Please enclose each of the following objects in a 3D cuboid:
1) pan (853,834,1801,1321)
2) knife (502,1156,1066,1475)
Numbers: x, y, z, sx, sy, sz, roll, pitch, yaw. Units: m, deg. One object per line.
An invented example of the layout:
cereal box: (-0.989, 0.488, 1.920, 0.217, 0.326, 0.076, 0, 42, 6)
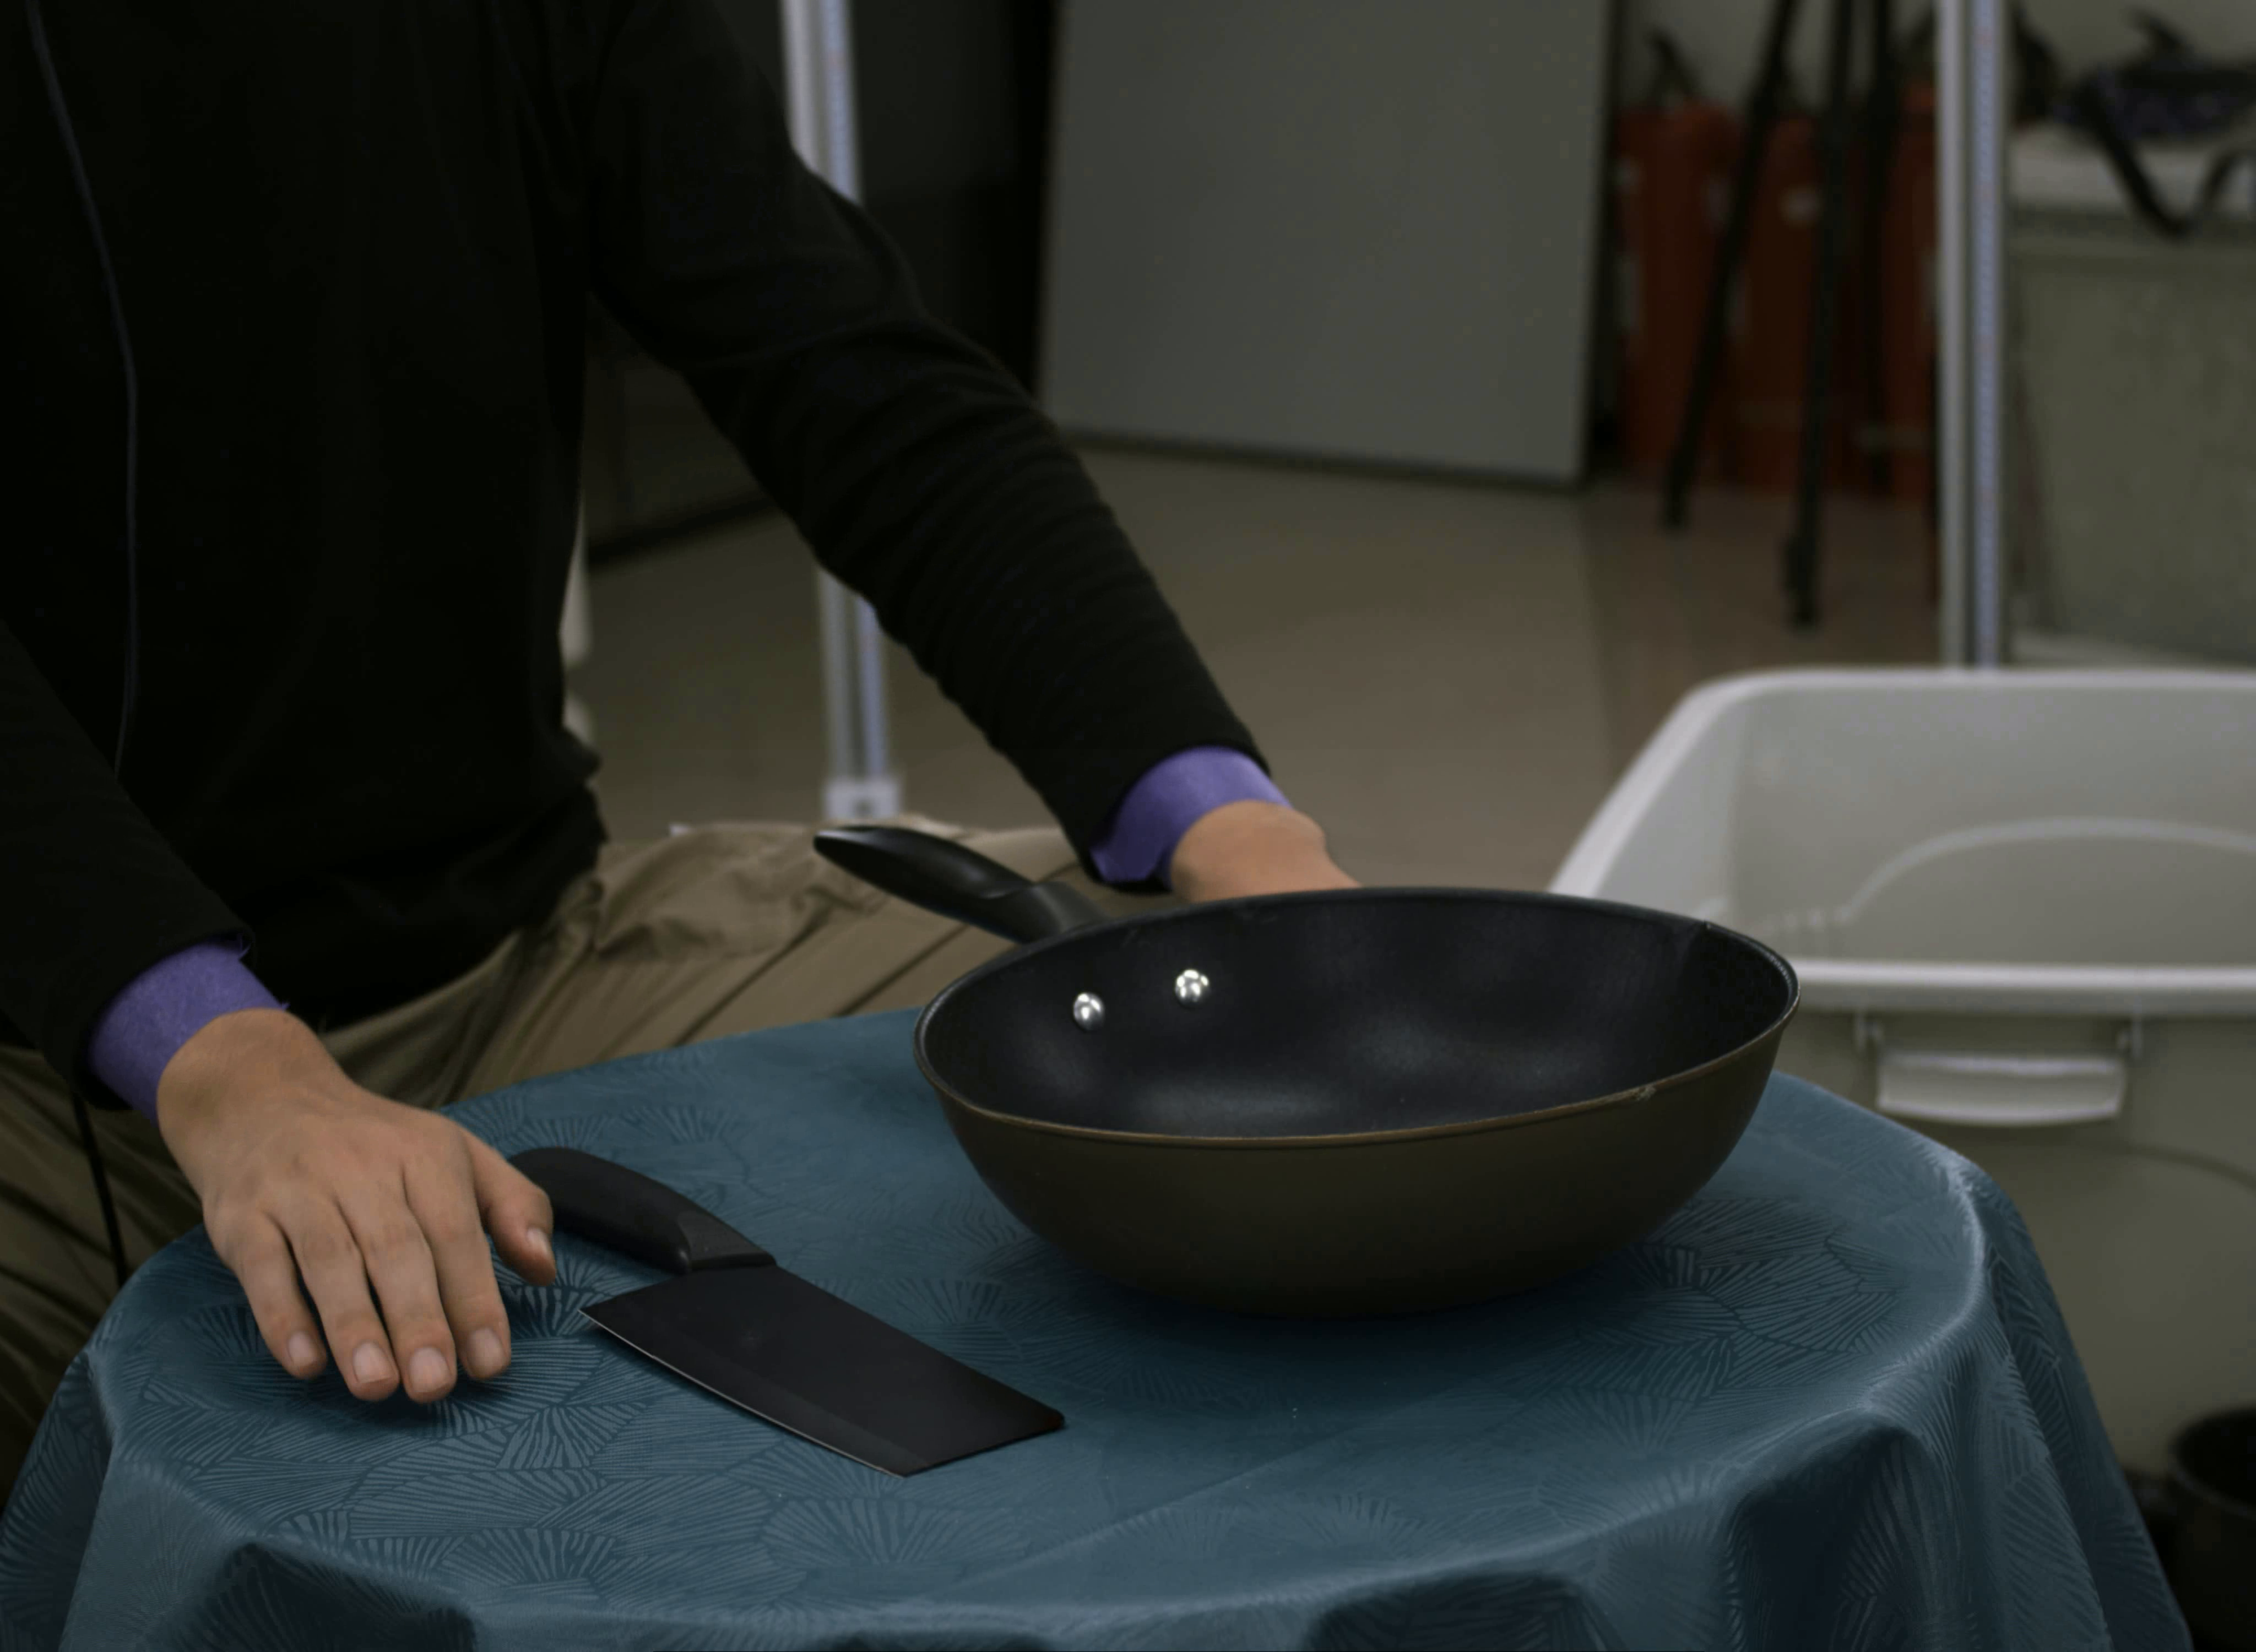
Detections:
pan: (0.025, 0.078, 1.771, 0.282, 0.088, 0.468, -12, 15, -30)
knife: (-0.121, 0.150, 1.670, 0.079, 0.021, 0.305, -12, 18, -27)
